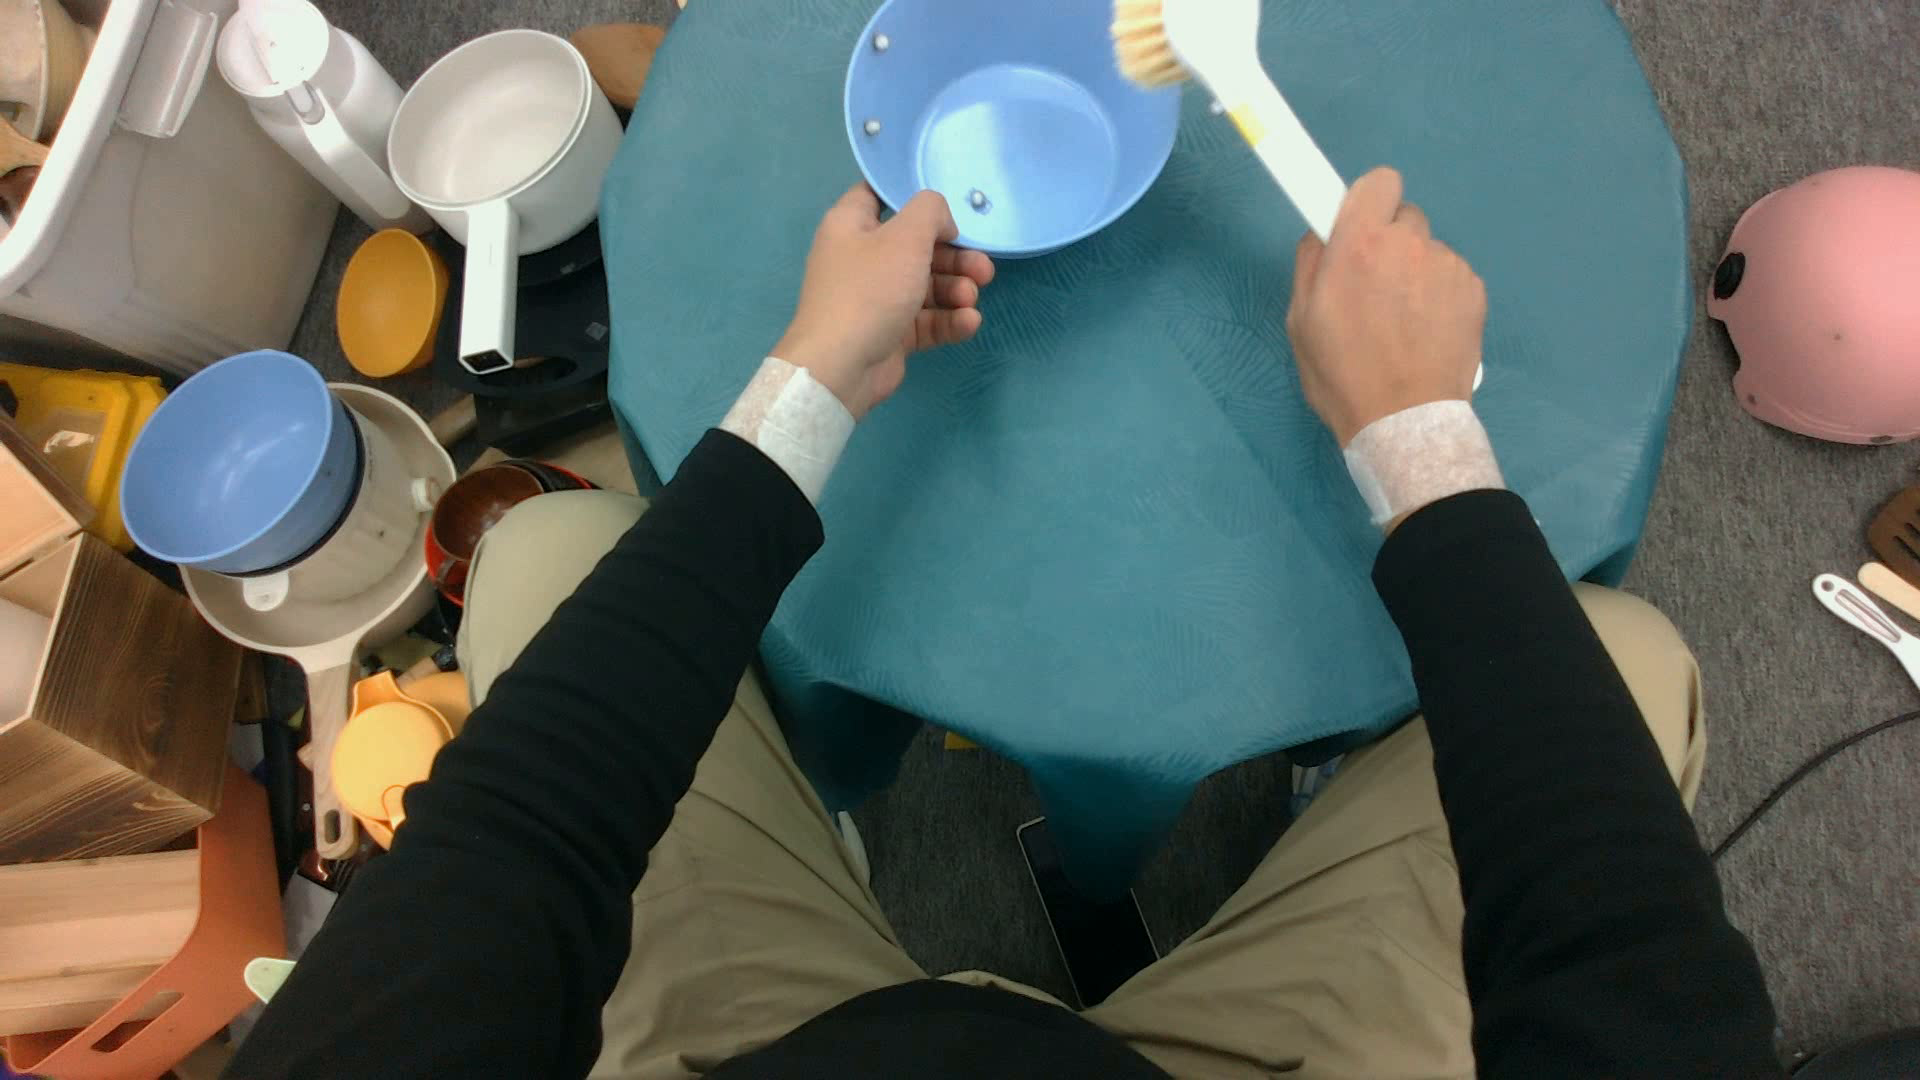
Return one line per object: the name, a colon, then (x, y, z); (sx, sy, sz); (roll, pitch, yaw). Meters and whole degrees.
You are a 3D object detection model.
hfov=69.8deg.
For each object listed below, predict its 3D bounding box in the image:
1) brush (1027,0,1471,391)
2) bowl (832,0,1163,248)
brush: (0.142, -0.160, 0.683); (0.266, 0.056, 0.069); (40, 73, -10)
bowl: (0.023, -0.227, 0.747); (0.176, 0.070, 0.176); (-2, 74, 6)
